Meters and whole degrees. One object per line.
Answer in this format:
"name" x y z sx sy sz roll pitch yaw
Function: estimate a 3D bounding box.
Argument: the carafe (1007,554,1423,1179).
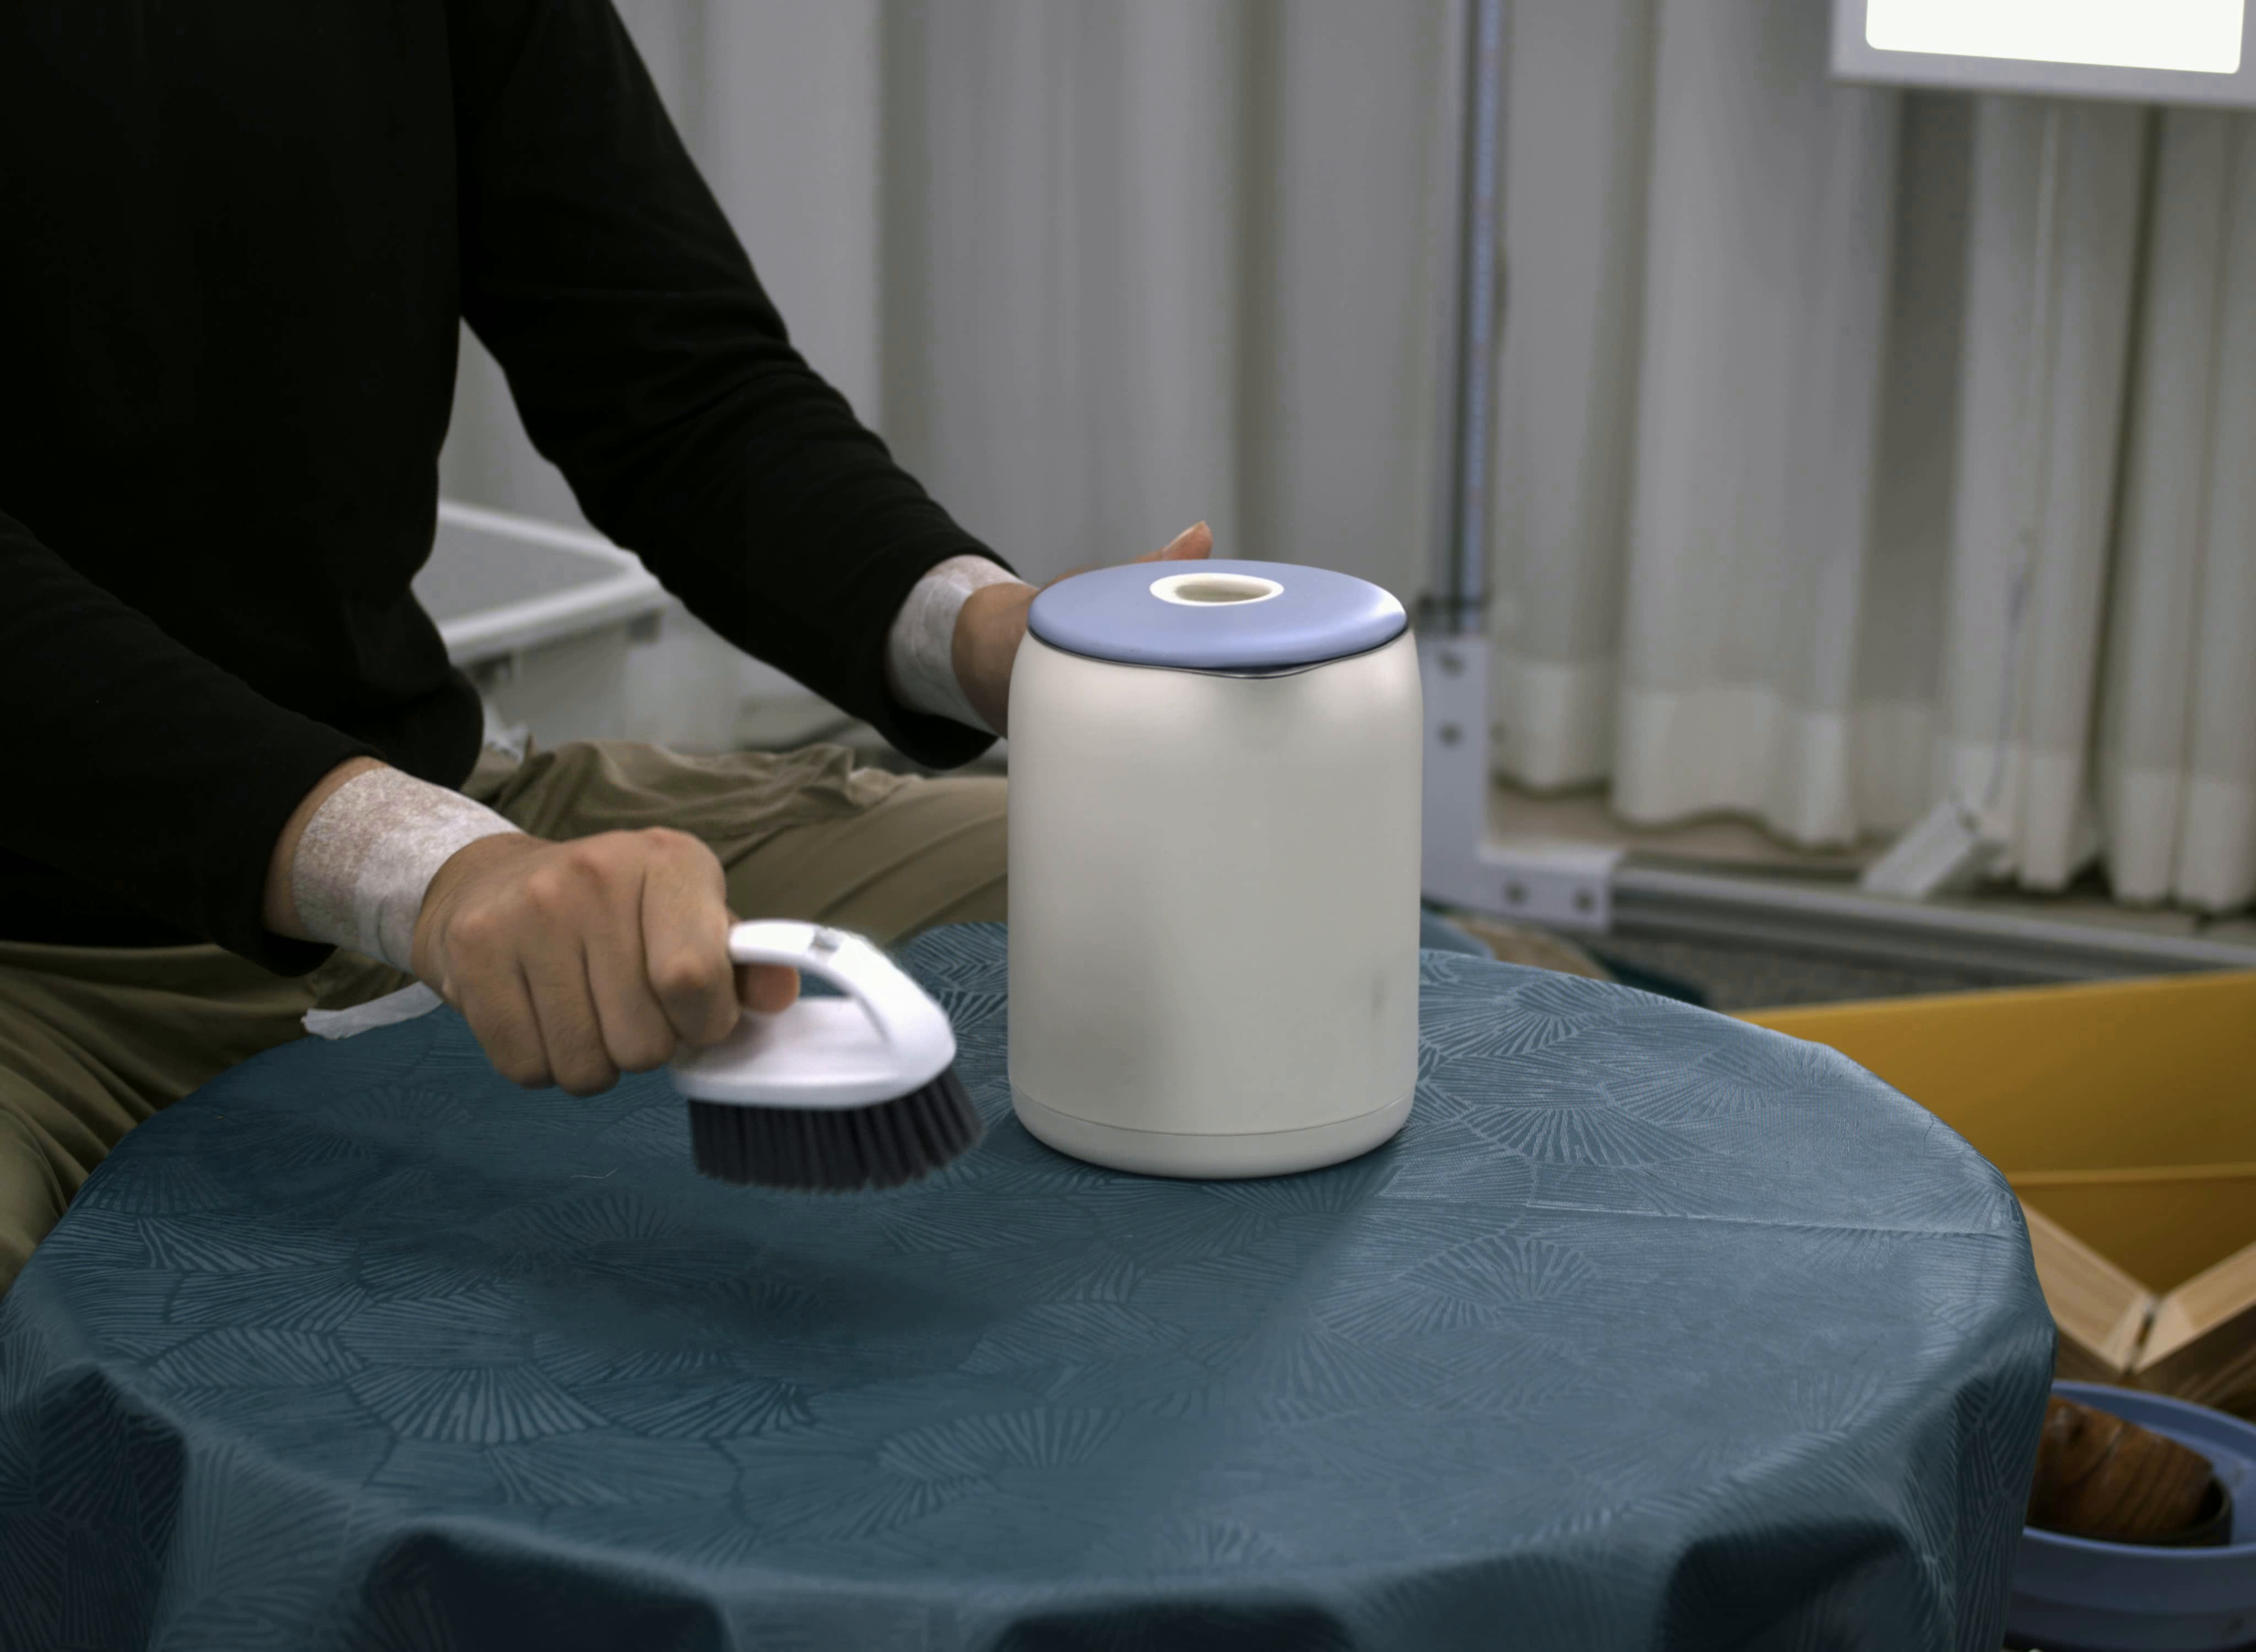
"carafe" 0.022 0.005 1.686 0.132 0.184 0.189 -3 15 -13

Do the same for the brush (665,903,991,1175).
"brush" -0.092 0.056 1.505 0.098 0.073 0.050 2 32 42
